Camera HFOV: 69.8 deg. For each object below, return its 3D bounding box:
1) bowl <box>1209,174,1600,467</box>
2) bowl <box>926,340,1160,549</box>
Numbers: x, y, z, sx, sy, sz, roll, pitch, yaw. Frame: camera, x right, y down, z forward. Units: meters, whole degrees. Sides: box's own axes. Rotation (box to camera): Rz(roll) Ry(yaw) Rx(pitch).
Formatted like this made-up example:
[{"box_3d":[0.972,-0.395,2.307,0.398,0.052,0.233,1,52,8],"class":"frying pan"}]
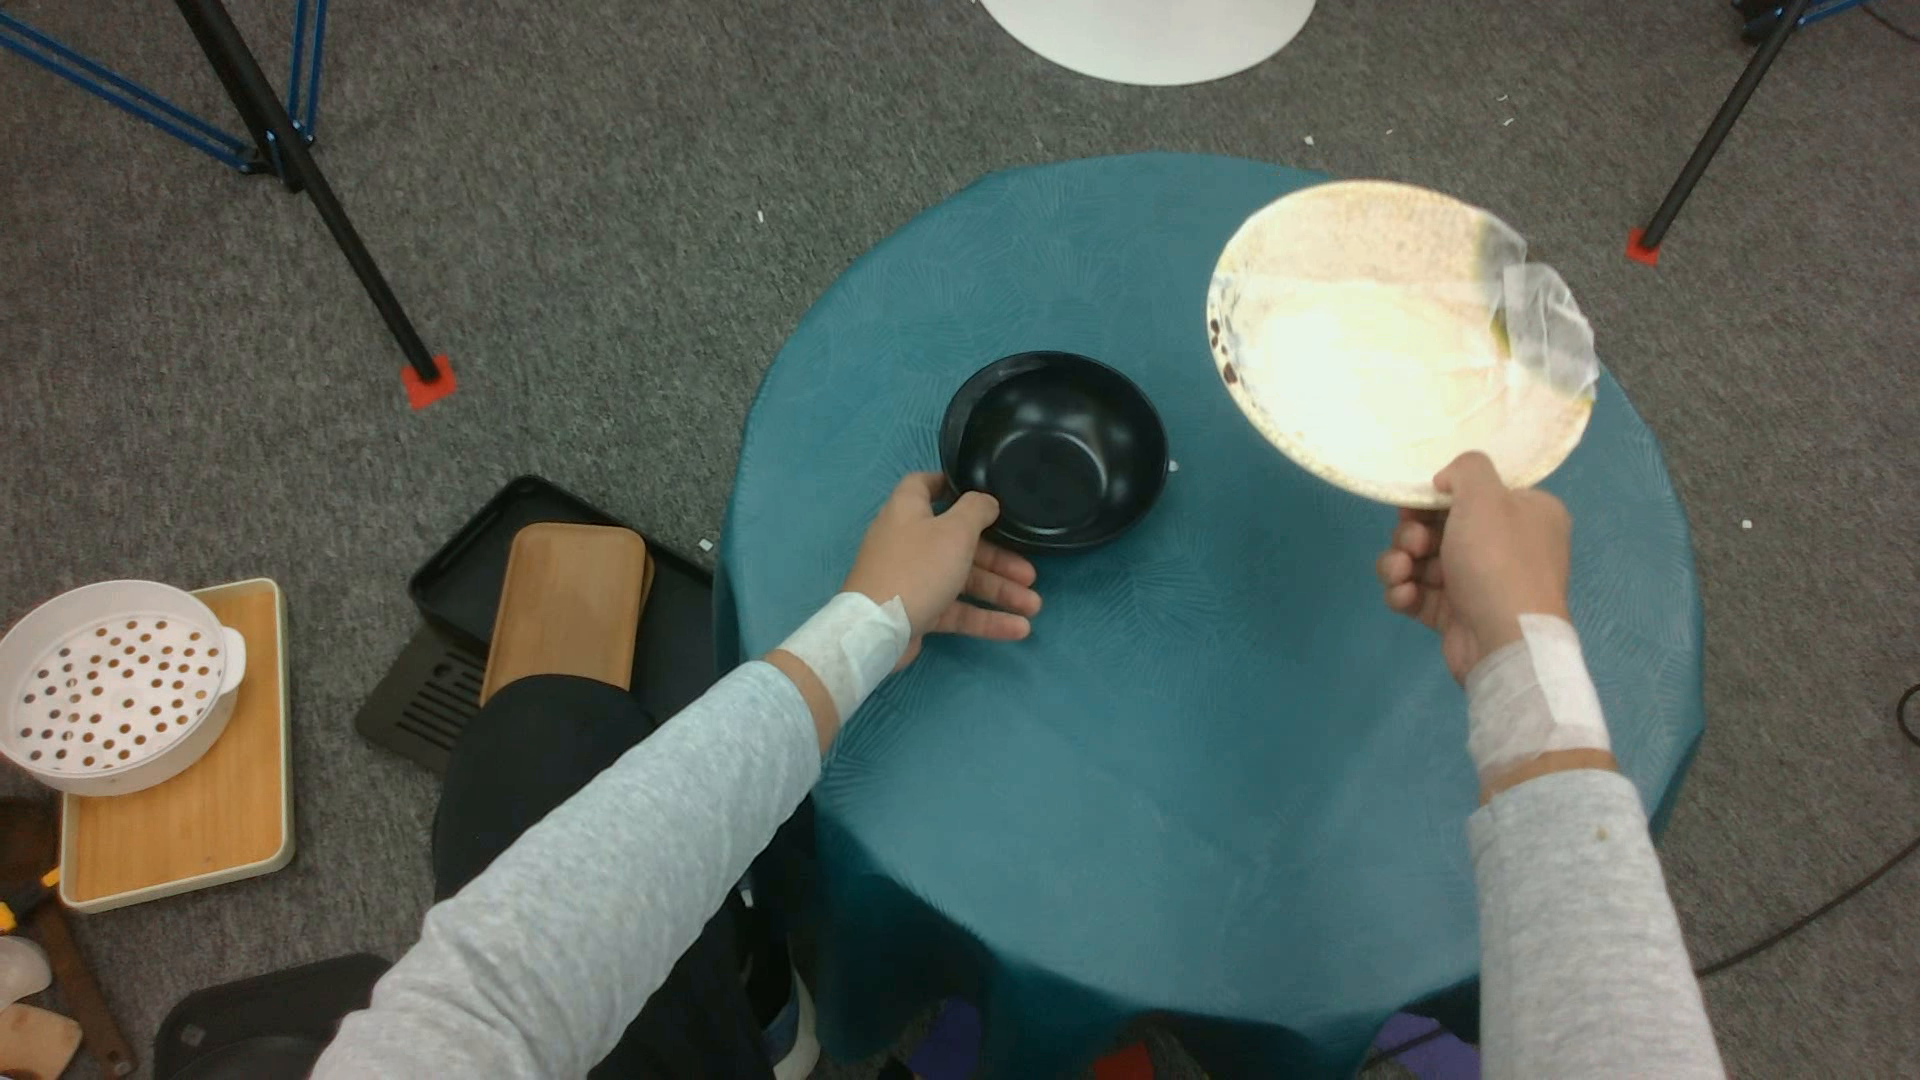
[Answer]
[{"box_3d":[0.227,-0.101,0.744,0.204,0.077,0.205,3,56,-4],"class":"bowl"},{"box_3d":[0.049,-0.051,0.838,0.140,0.049,0.140,0,64,-1],"class":"bowl"}]
